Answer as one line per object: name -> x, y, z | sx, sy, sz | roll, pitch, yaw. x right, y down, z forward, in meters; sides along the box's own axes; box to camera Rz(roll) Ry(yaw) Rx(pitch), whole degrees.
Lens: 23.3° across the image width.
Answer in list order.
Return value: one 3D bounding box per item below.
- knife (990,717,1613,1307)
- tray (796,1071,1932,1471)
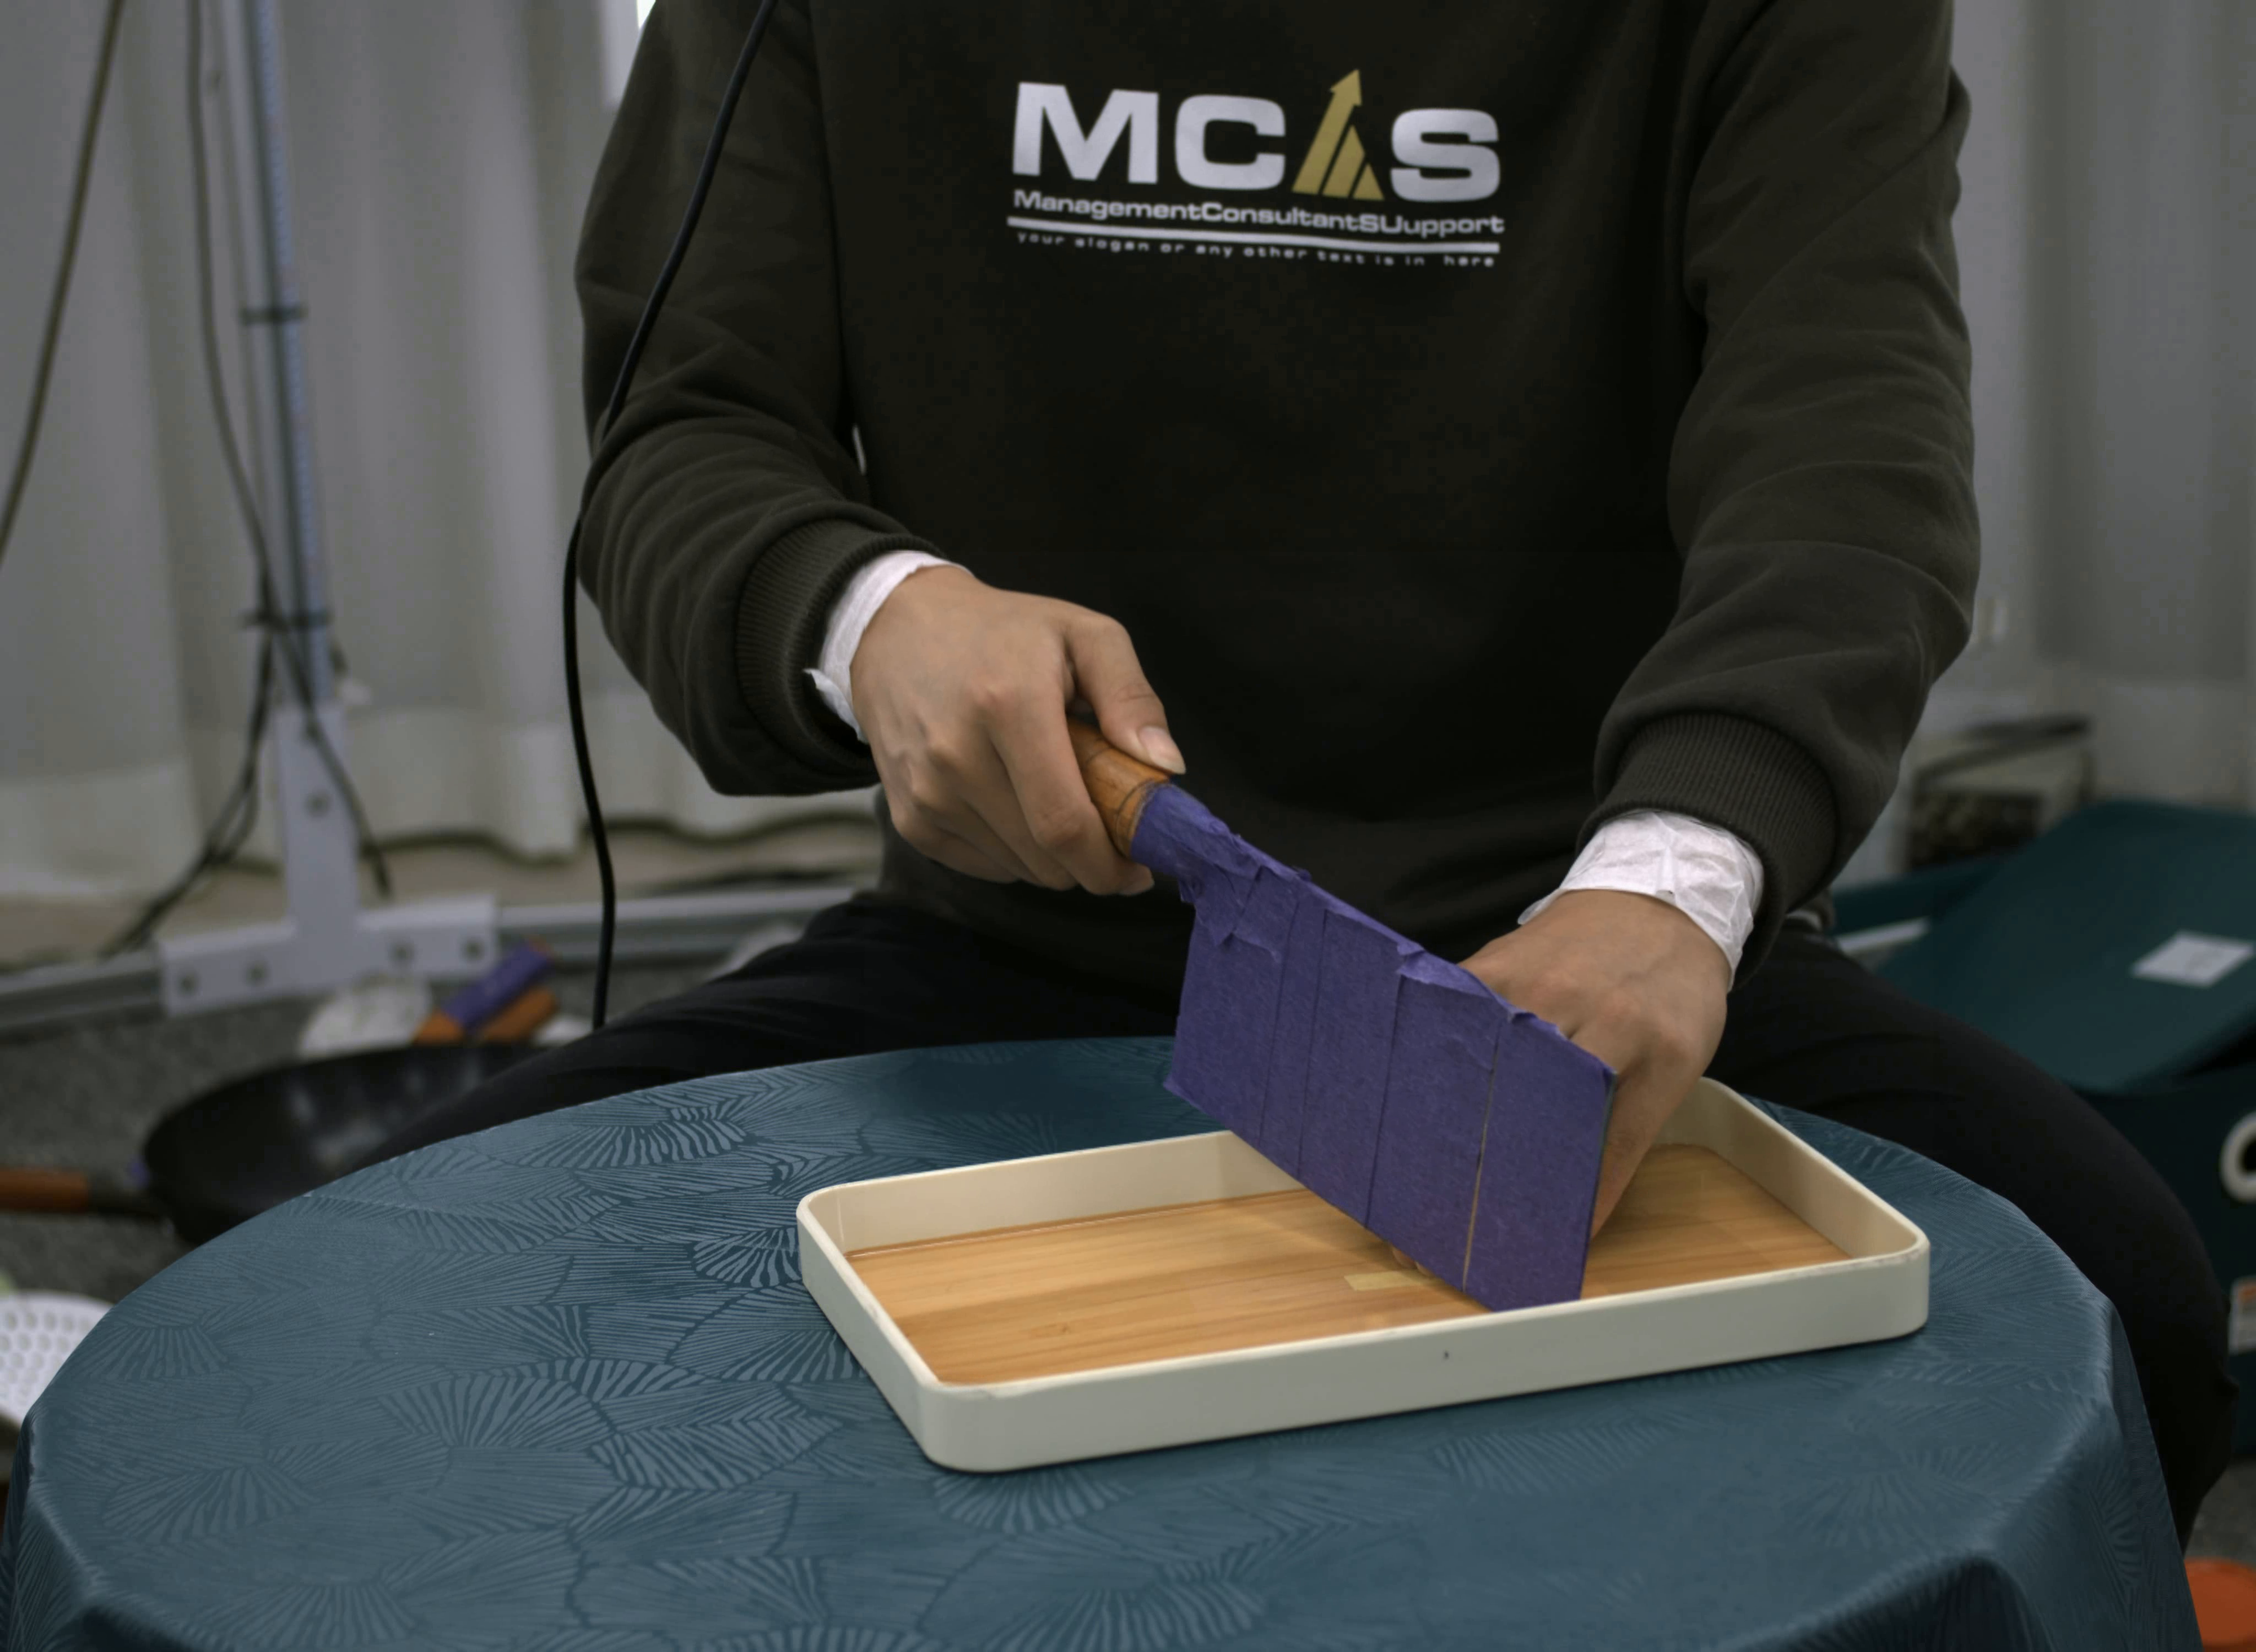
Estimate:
knife -> 0.043, 0.055, 1.649 | 0.032, 0.103, 0.318 | 0, 18, -32
tray -> 0.066, 0.127, 1.605 | 0.299, 0.027, 0.193 | -7, 15, -15
